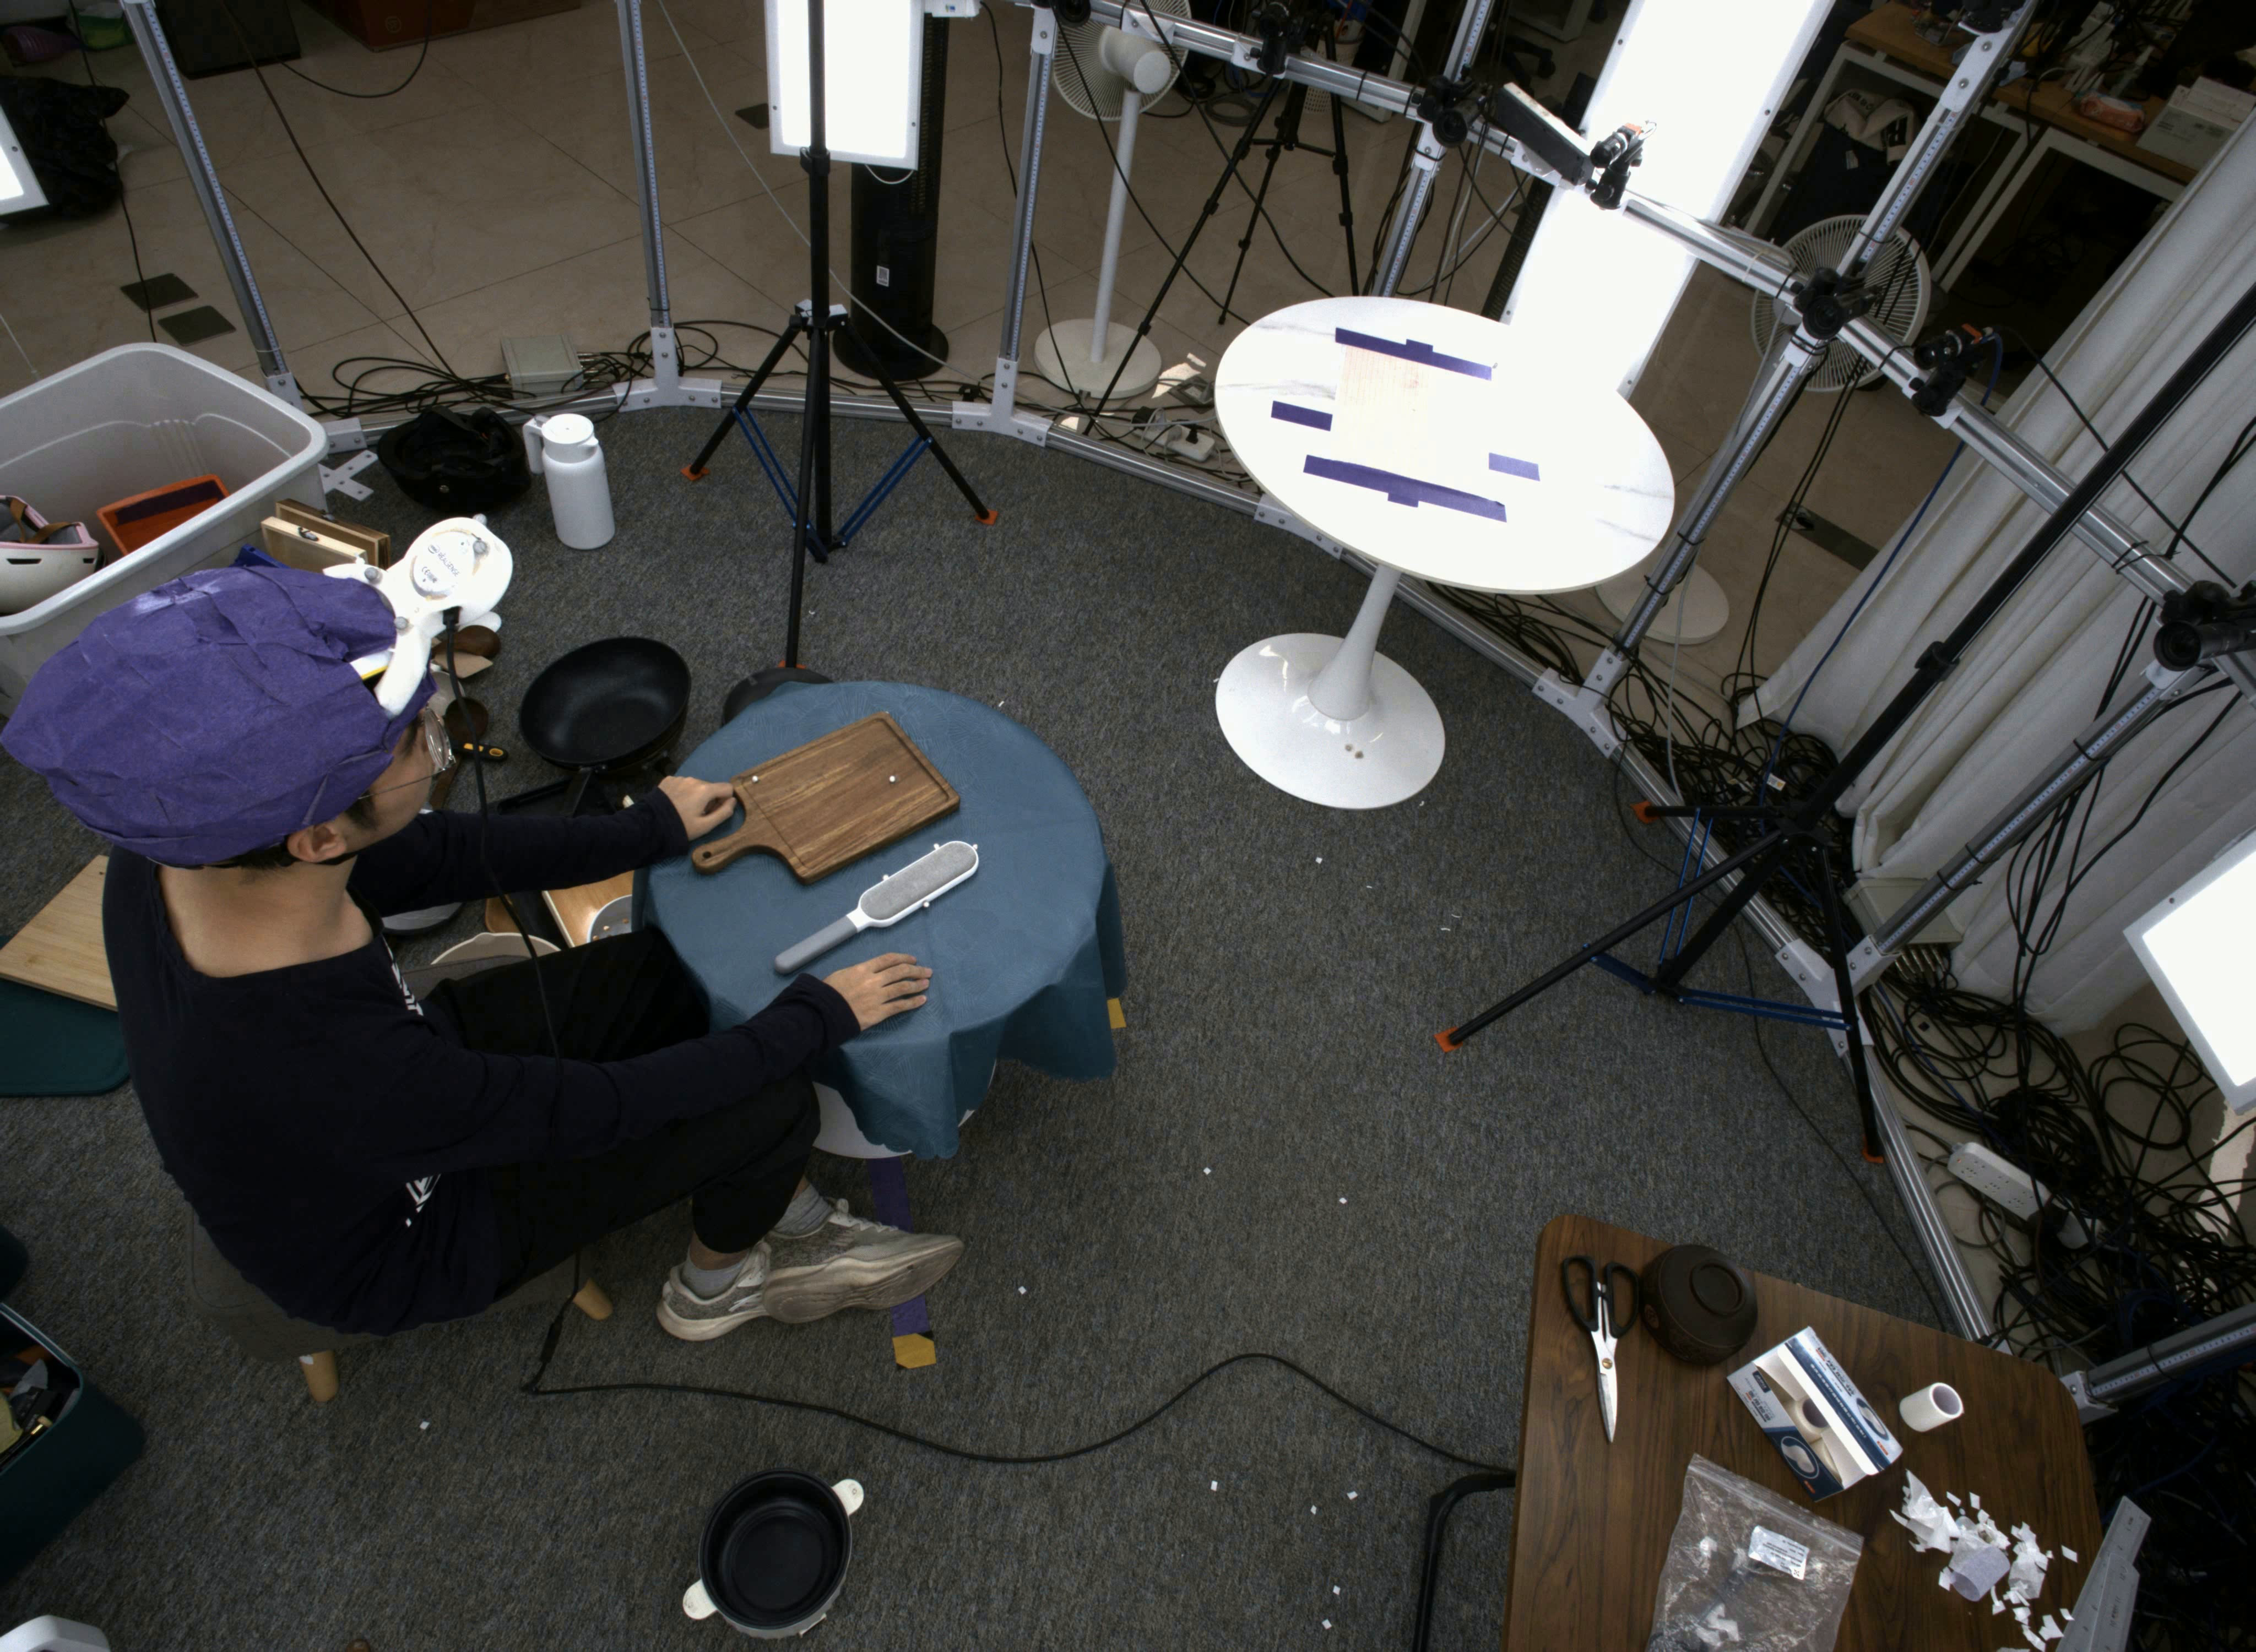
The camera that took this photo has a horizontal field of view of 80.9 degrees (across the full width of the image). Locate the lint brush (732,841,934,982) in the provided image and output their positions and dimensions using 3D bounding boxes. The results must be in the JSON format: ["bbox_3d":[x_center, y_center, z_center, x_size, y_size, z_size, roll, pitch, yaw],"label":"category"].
[{"bbox_3d":[-0.372,0.105,1.653,0.309,0.021,0.059,-35,74,-33],"label":"lint brush"}]

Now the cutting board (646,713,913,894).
[{"bbox_3d":[-0.482,-0.015,1.719,0.353,0.023,0.196,-32,67,-31],"label":"cutting board"}]
